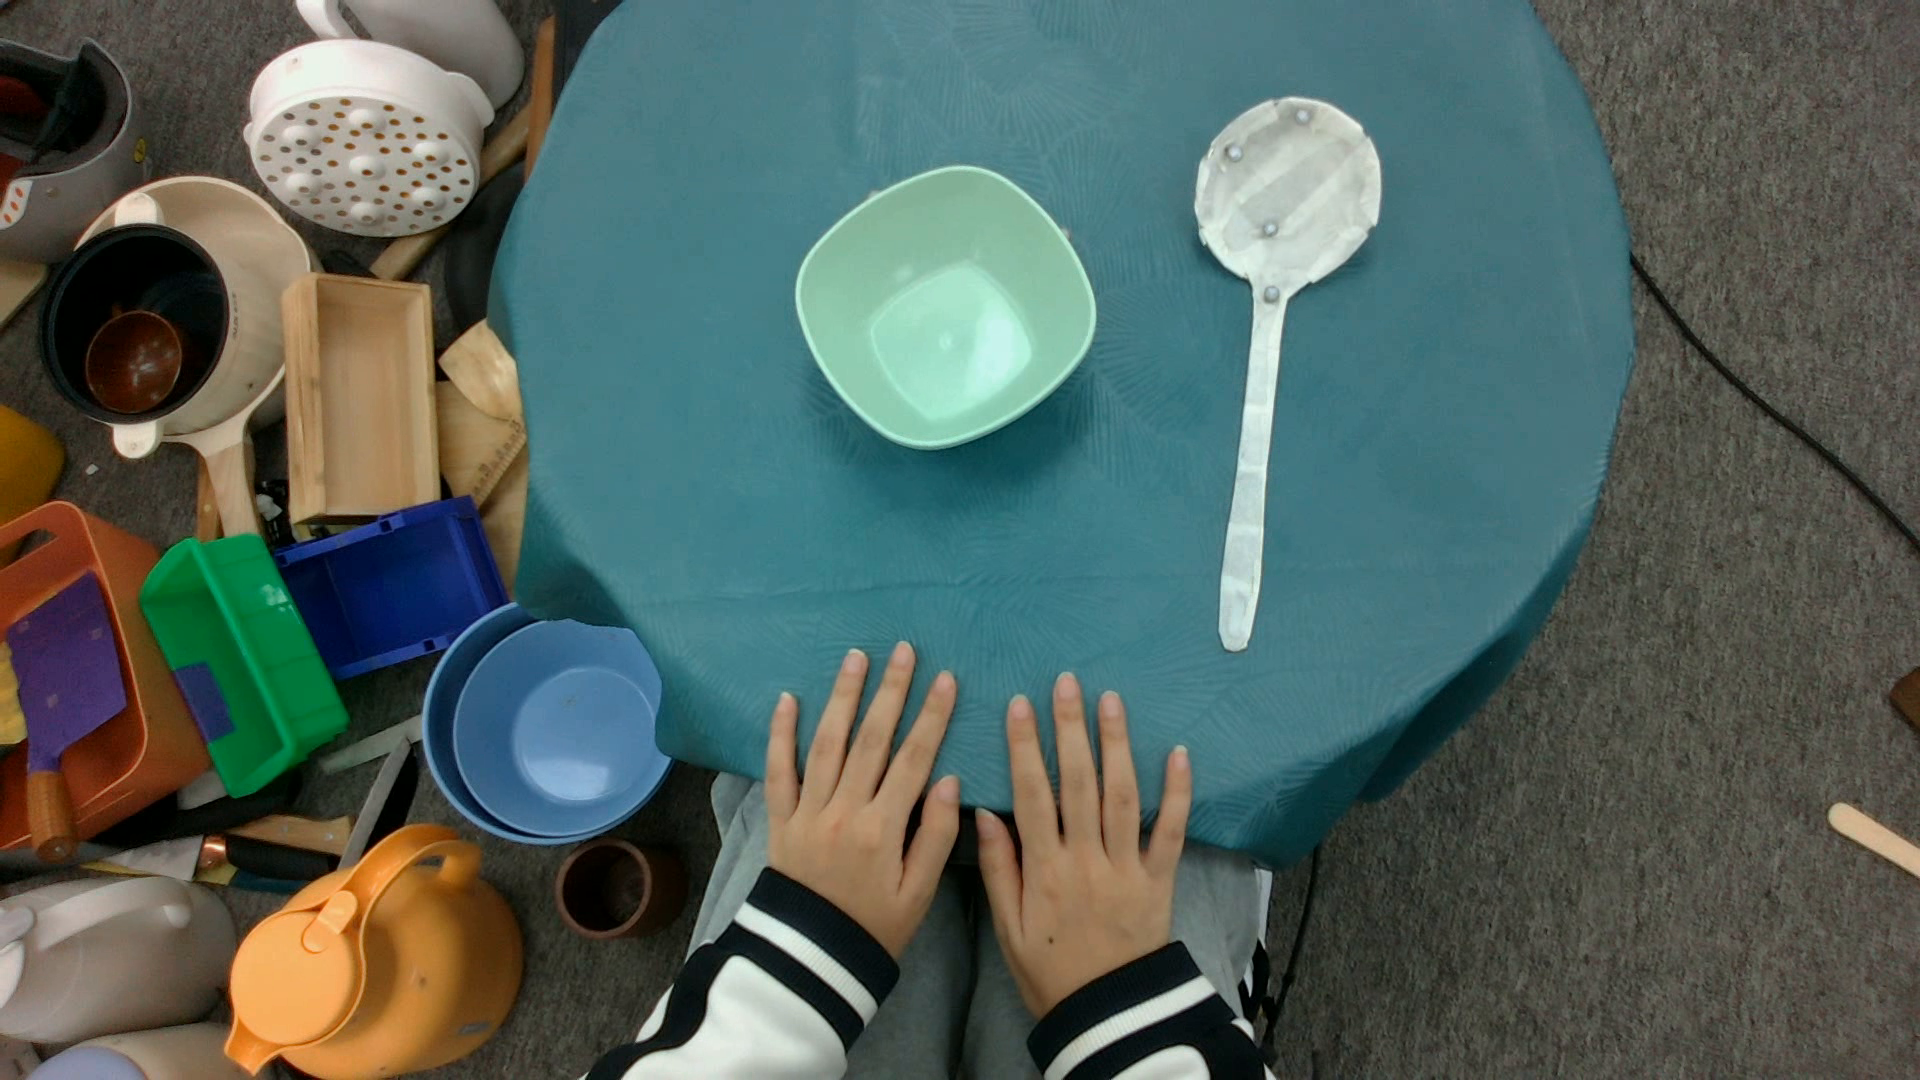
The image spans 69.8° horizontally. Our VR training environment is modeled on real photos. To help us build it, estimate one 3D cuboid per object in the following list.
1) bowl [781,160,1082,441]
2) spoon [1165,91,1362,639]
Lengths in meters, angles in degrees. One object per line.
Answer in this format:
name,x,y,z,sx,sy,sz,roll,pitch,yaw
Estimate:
bowl,-0.013,-0.114,0.708,0.151,0.058,0.152,-1,75,3
spoon,0.138,-0.090,0.693,0.100,0.059,0.278,9,76,10
